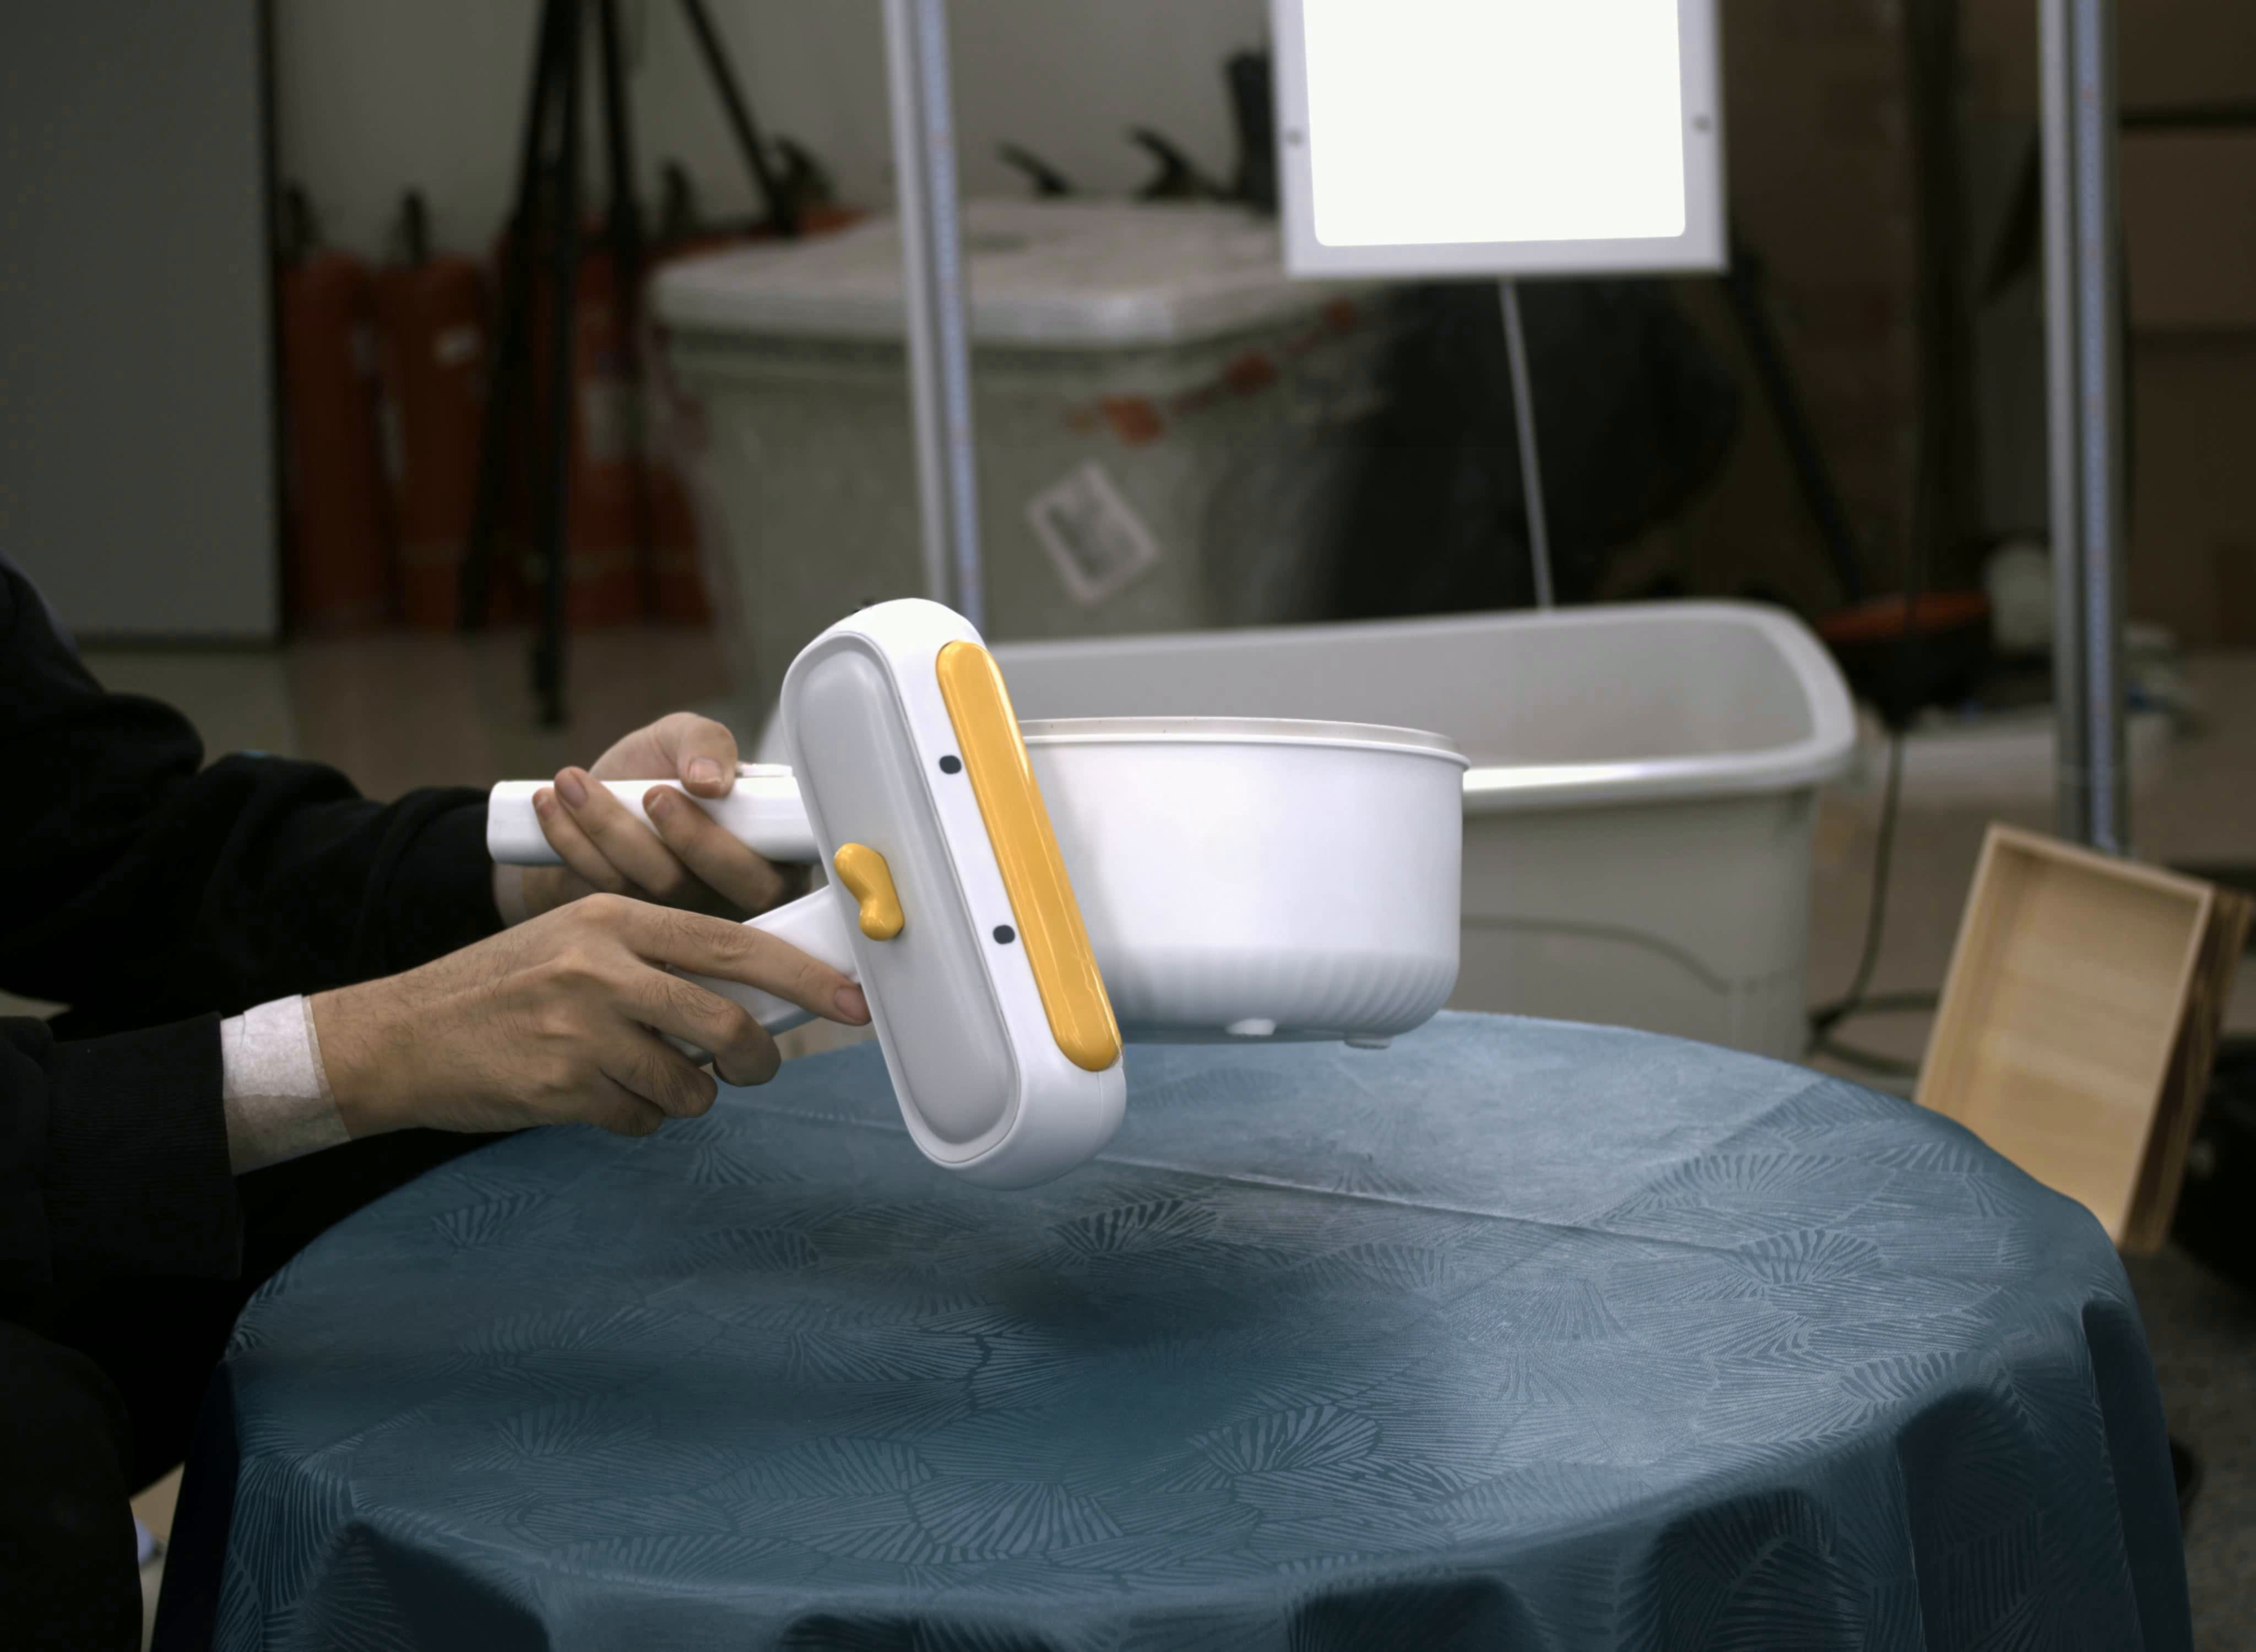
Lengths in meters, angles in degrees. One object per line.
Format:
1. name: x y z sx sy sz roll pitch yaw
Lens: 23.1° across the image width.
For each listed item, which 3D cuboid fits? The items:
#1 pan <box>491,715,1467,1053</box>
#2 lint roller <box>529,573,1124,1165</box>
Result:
1. pan: -0.056 0.026 1.867 0.361 0.102 0.197 -3 -5 26
2. lint roller: -0.107 0.040 1.757 0.196 0.193 0.072 -31 -14 31
